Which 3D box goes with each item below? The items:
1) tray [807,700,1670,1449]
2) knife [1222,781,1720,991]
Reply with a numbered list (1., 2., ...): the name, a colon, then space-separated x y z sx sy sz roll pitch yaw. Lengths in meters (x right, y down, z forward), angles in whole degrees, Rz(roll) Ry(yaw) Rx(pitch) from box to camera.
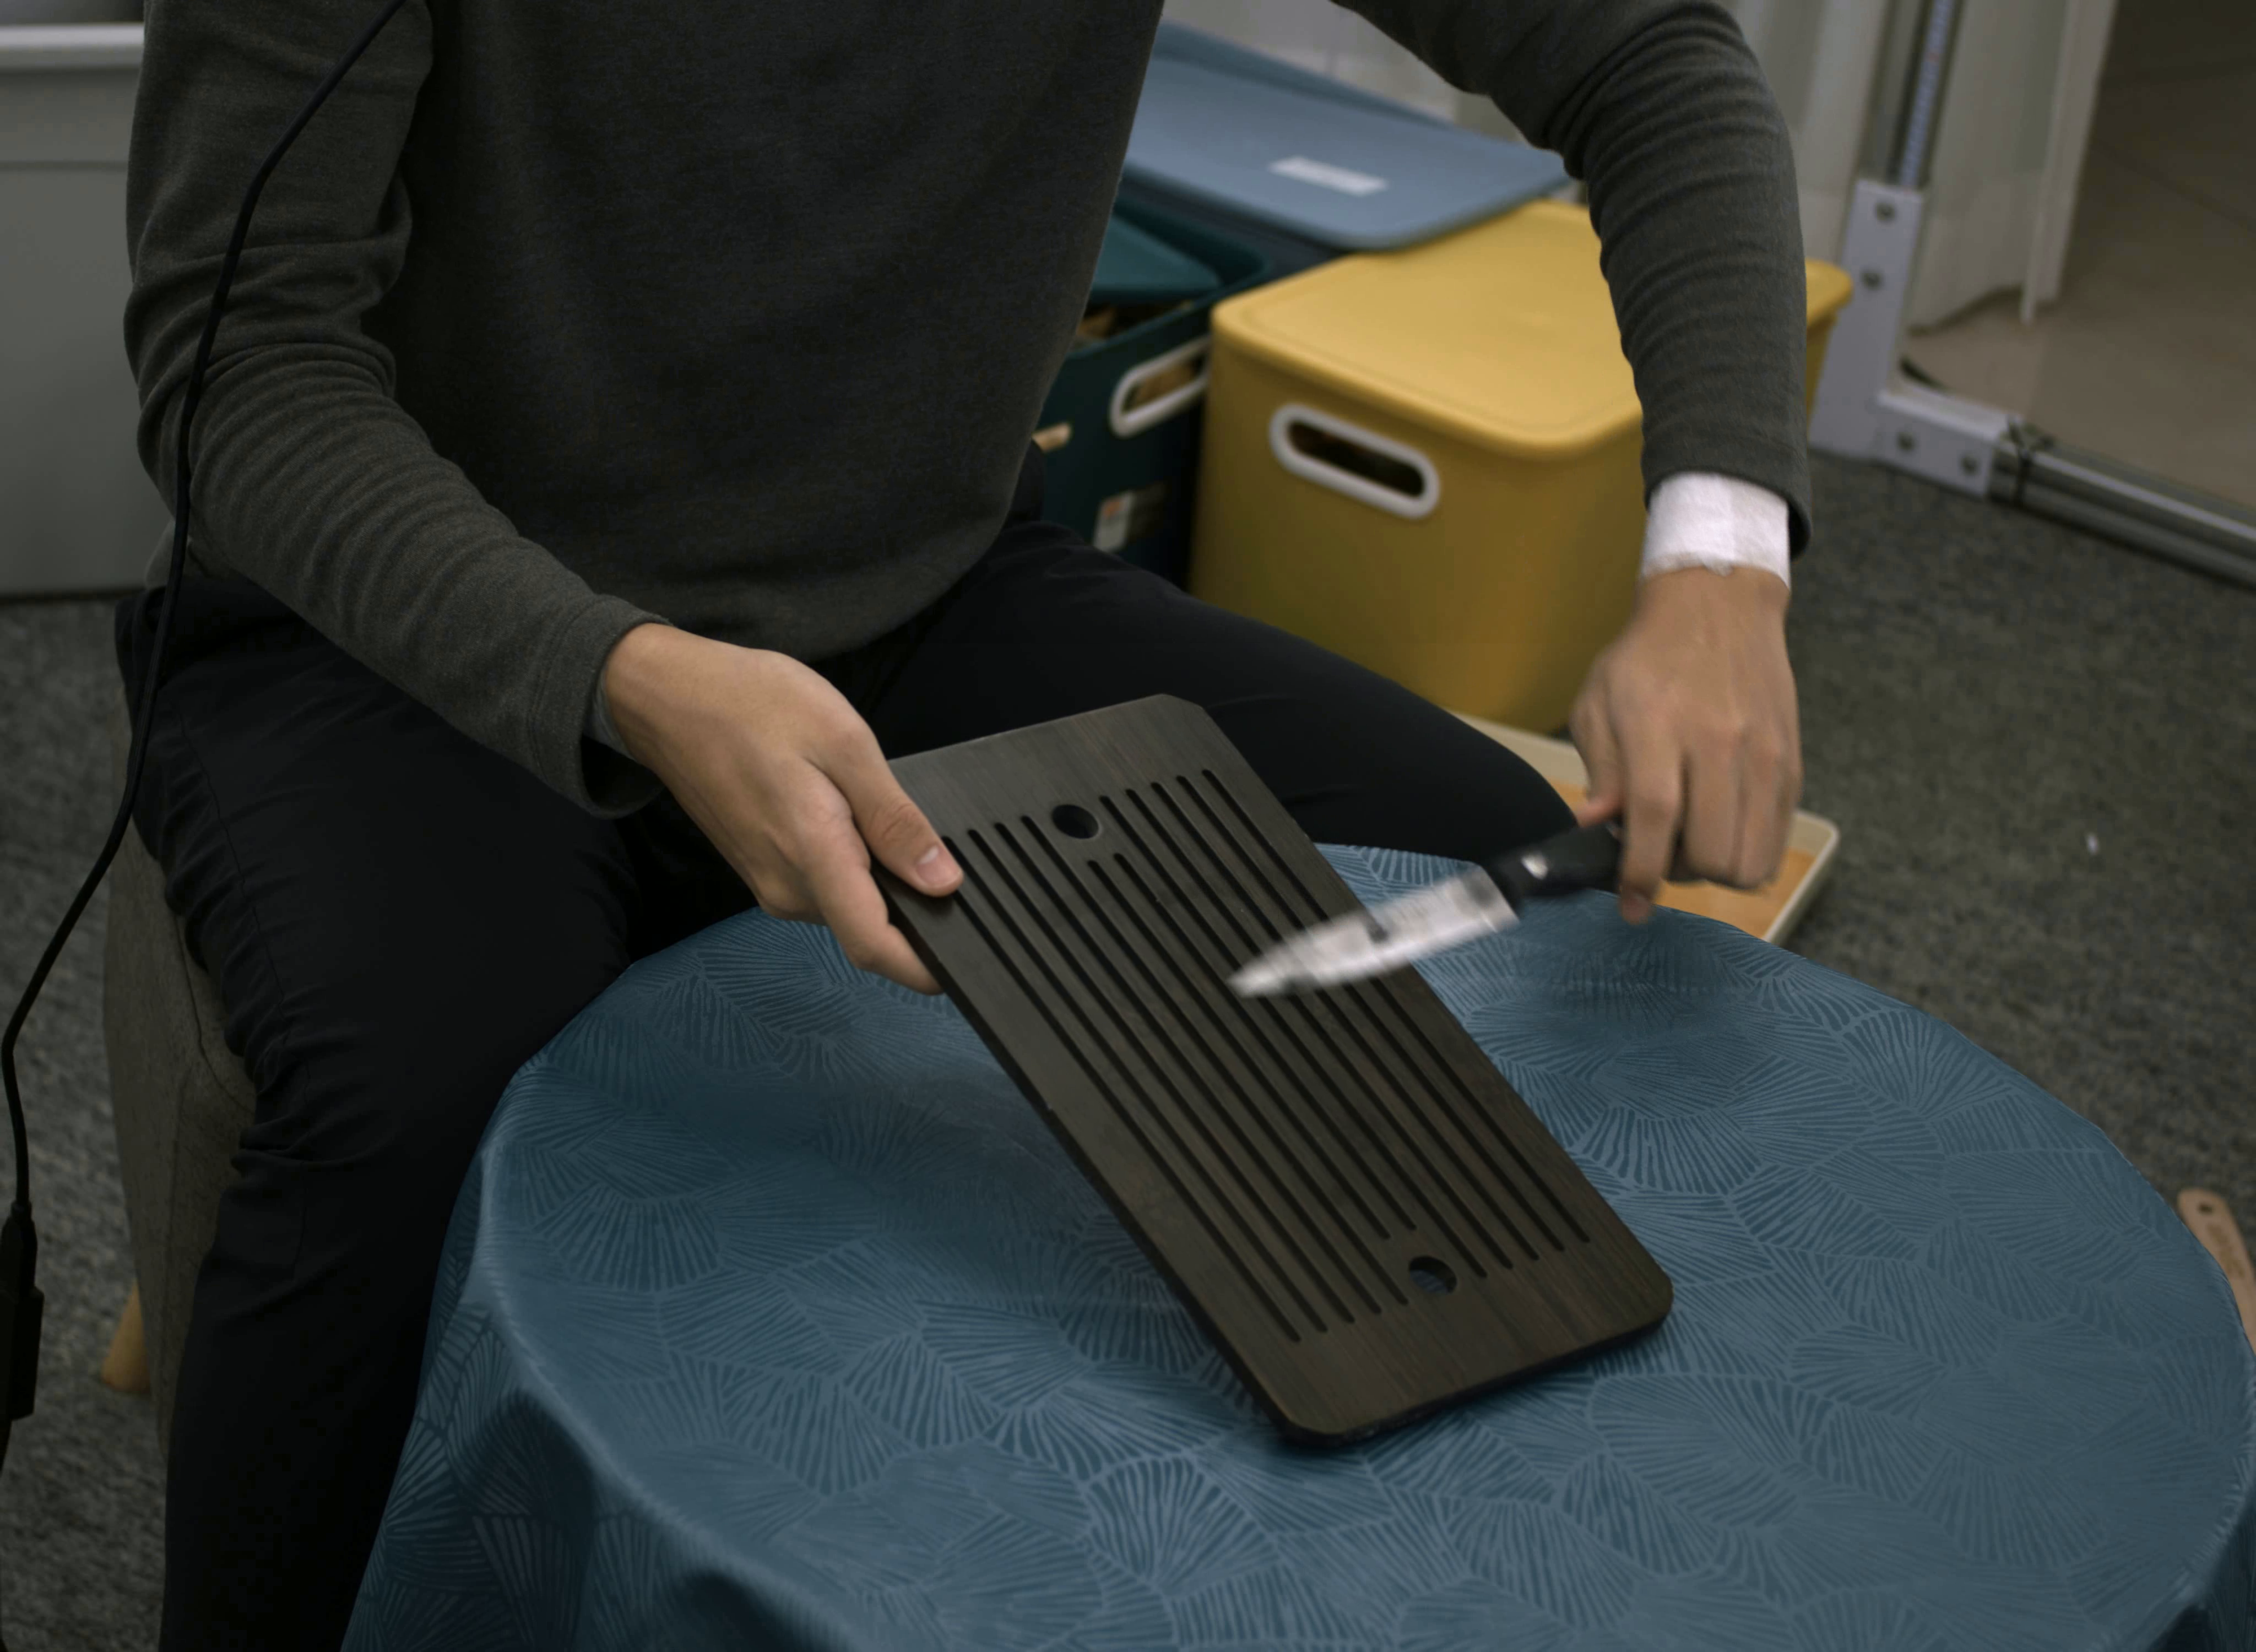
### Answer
1. tray: 0.034 0.078 1.786 0.169 0.018 0.308 -14 52 -36
2. knife: 0.121 0.021 1.871 0.237 0.016 0.024 -19 67 -36
